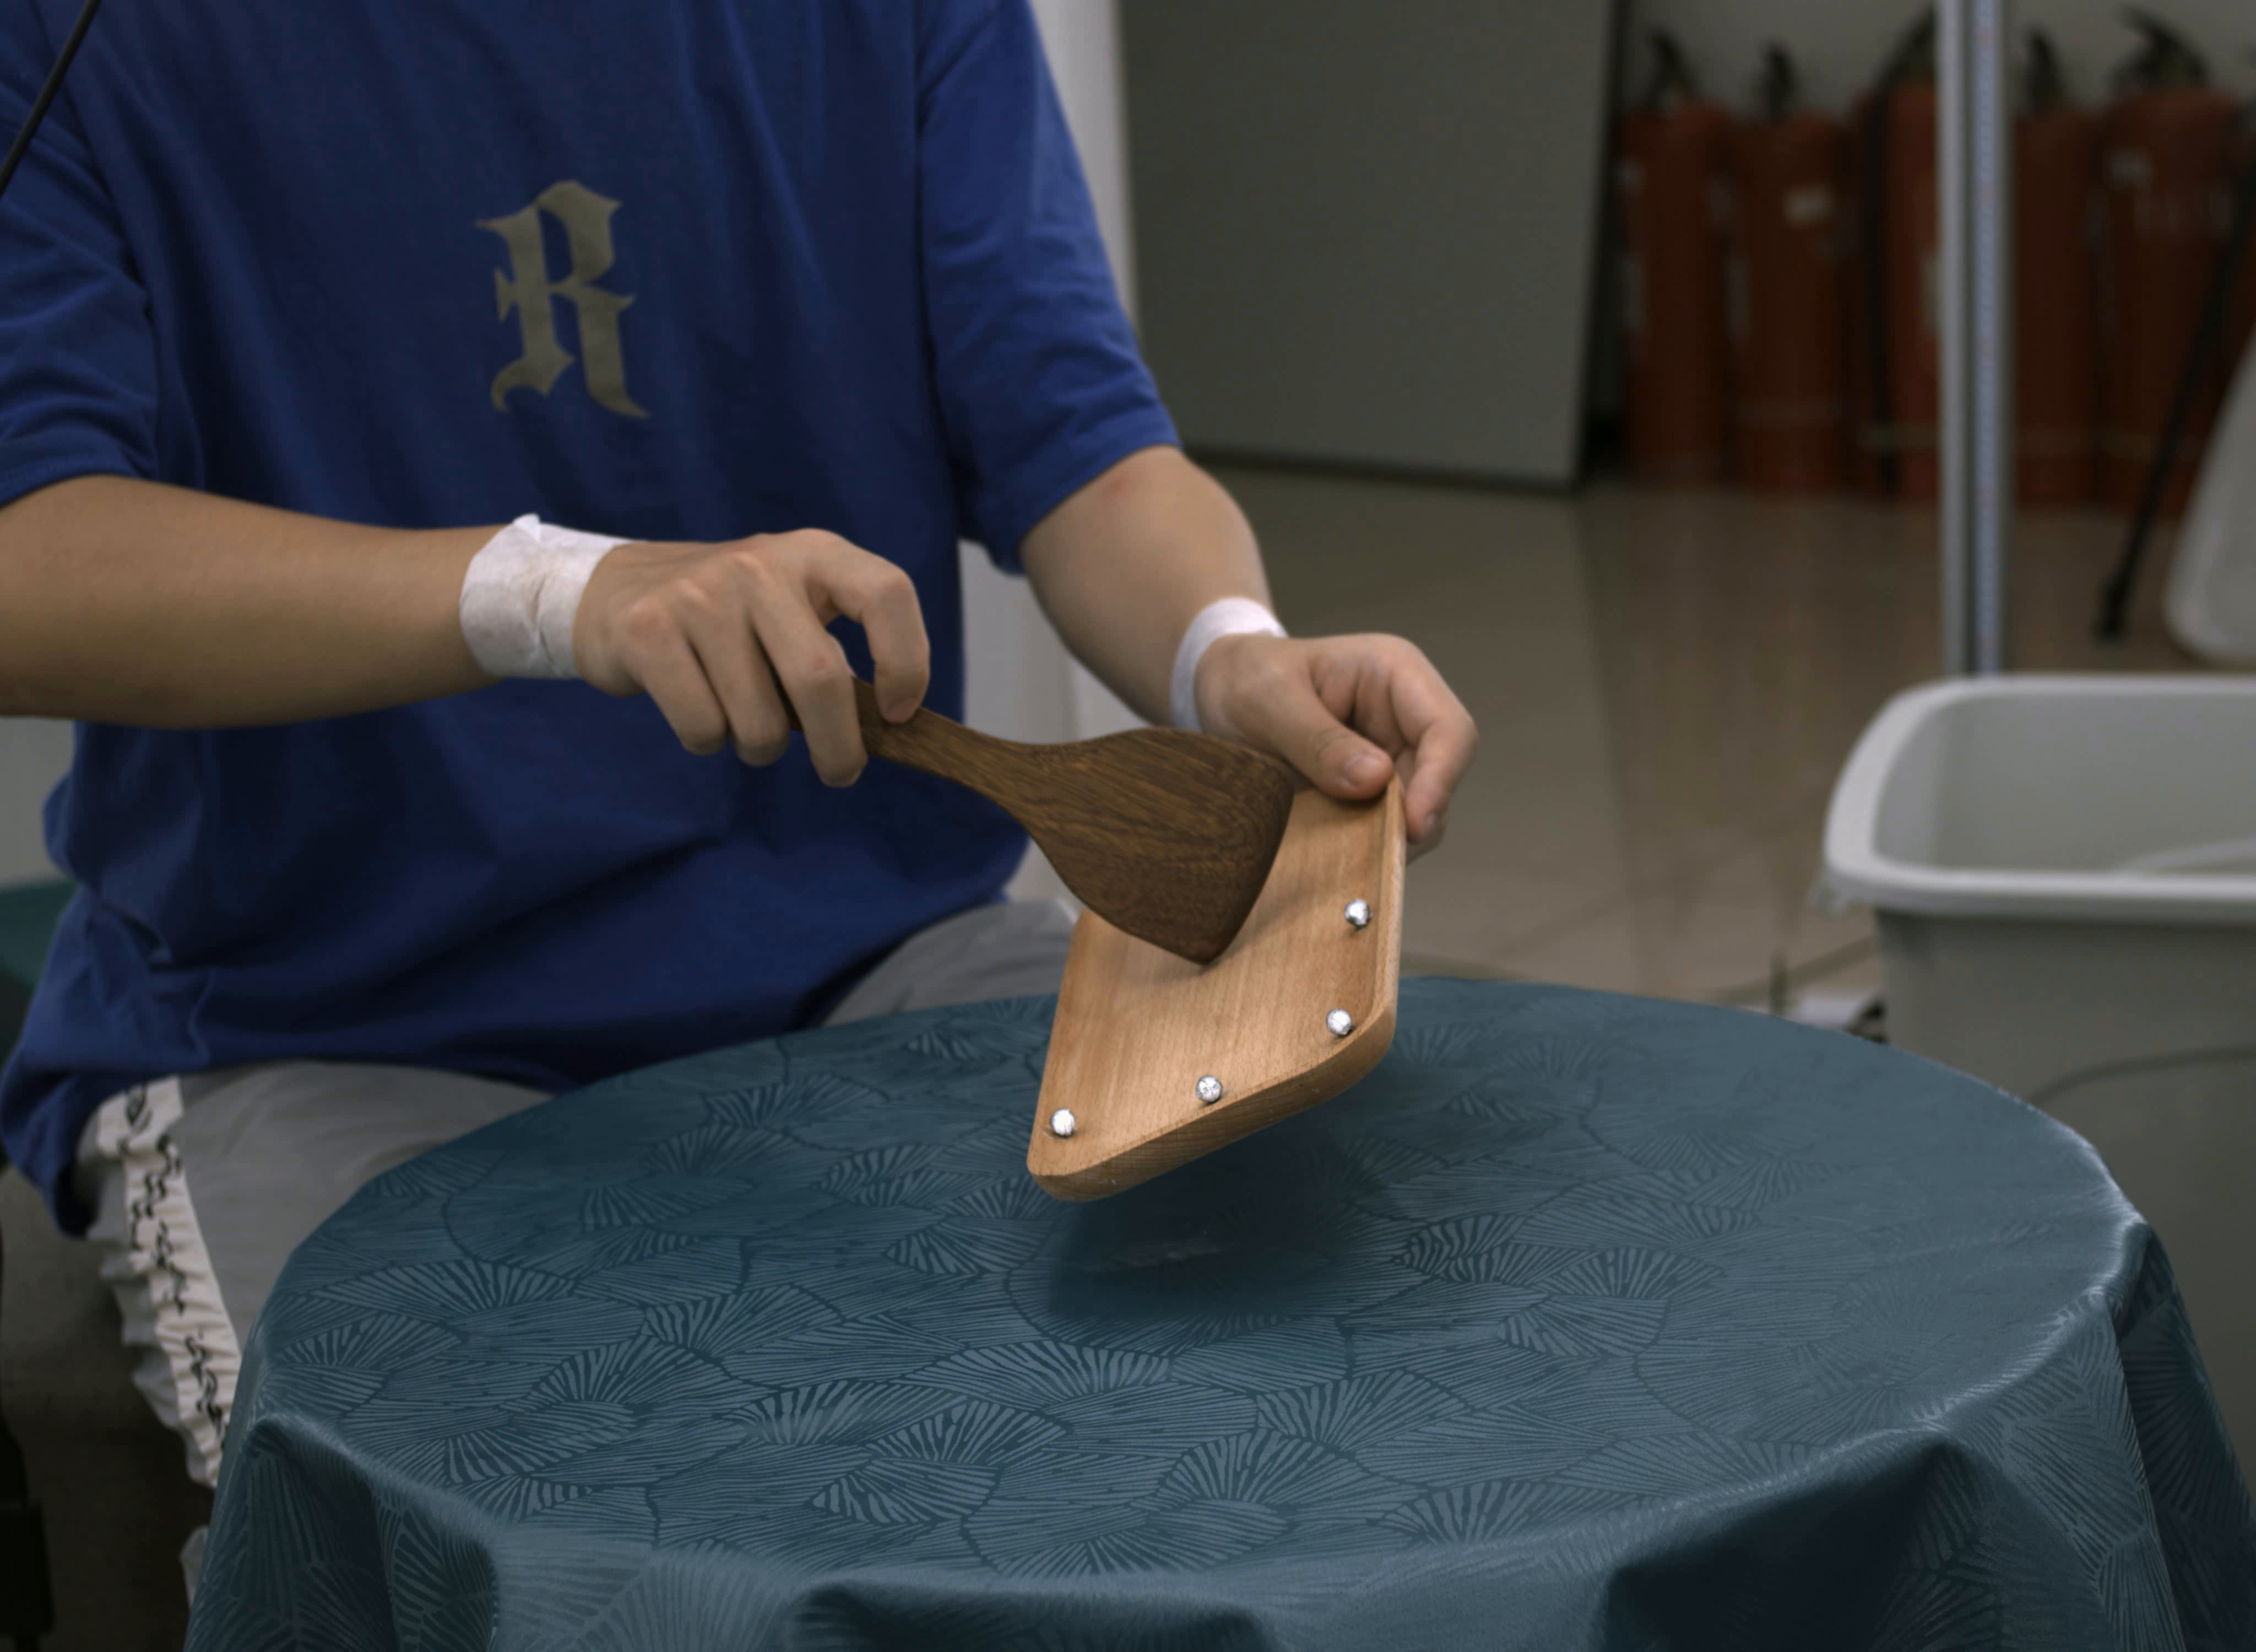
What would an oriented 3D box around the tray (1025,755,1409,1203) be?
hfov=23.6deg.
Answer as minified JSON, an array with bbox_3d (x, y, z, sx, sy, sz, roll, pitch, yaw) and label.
[{"bbox_3d":[0.033,0.047,1.756,0.130,0.023,0.250,-24,17,14],"label":"tray"}]

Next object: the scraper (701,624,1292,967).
[{"bbox_3d":[-0.048,-0.022,1.801,0.211,0.076,0.011,21,-5,18],"label":"scraper"}]
